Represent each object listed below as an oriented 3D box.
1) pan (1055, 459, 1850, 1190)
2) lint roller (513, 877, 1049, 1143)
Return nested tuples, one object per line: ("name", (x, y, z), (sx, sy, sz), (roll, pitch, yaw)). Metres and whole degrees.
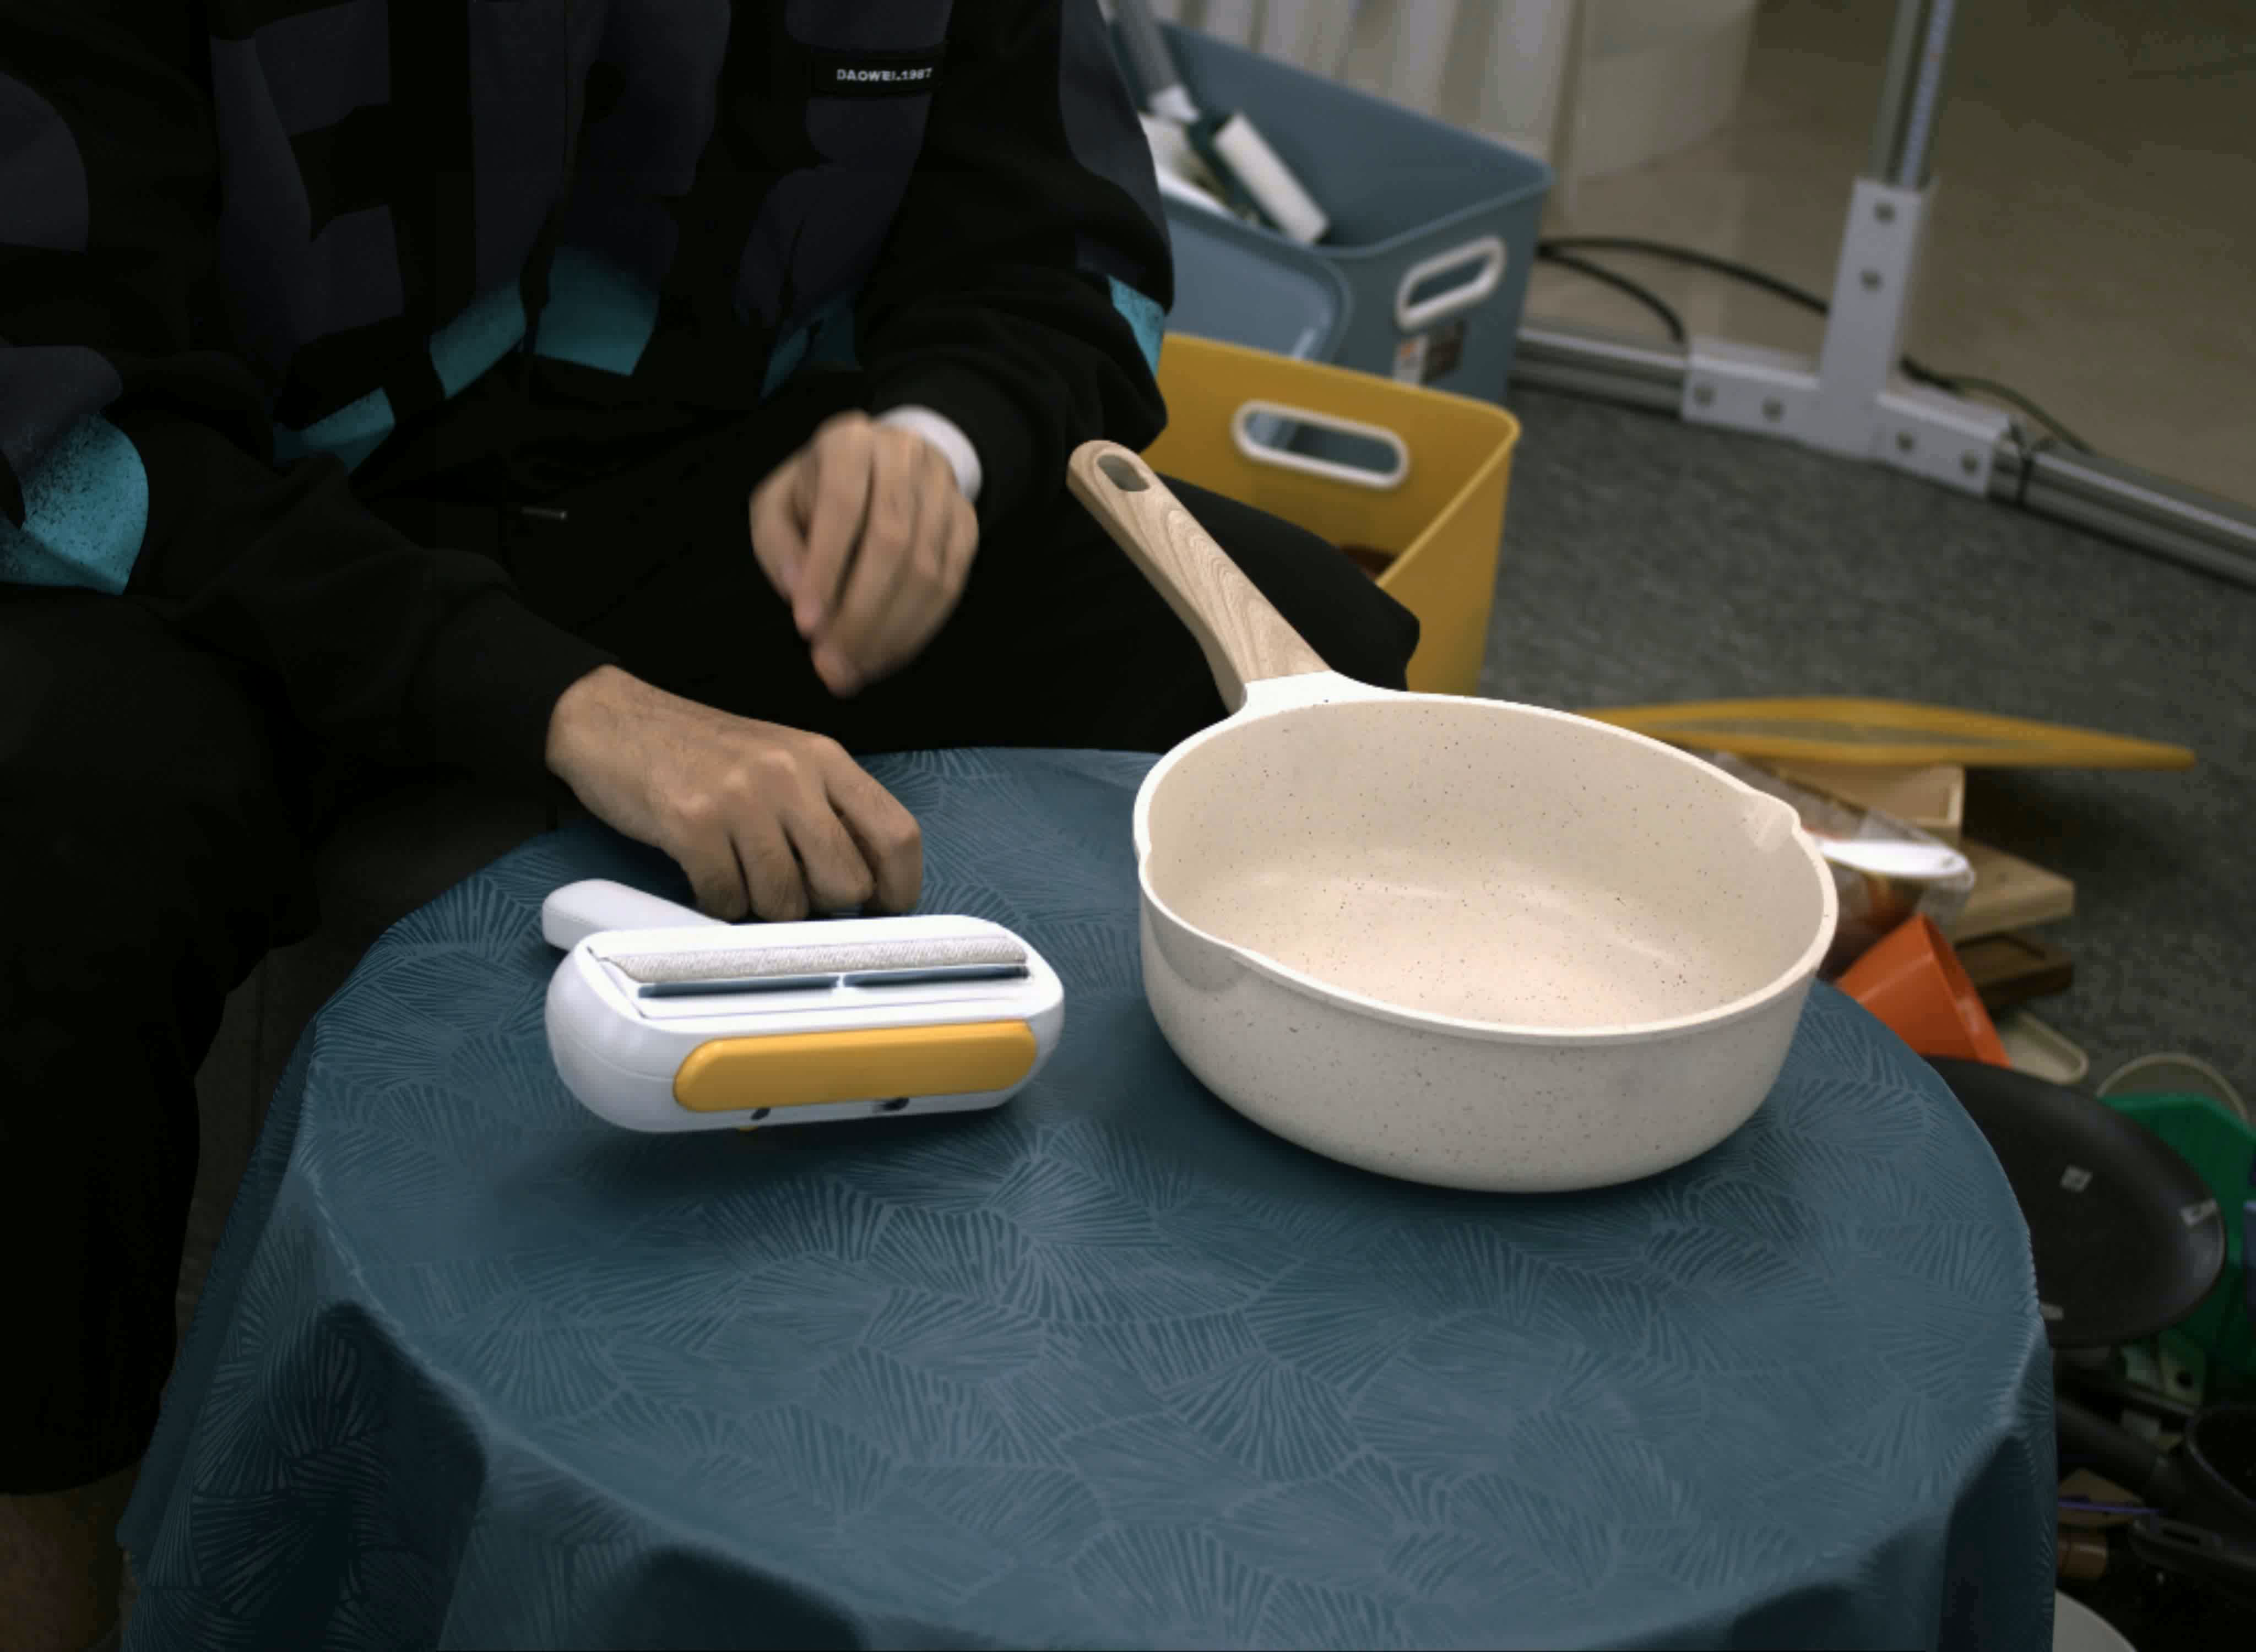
("pan", (0.083, -0.004, 1.958), (0.262, 0.101, 0.439), (-11, 32, -26))
("lint roller", (-0.146, 0.049, 1.839), (0.191, 0.074, 0.194), (-5, 26, -32))
